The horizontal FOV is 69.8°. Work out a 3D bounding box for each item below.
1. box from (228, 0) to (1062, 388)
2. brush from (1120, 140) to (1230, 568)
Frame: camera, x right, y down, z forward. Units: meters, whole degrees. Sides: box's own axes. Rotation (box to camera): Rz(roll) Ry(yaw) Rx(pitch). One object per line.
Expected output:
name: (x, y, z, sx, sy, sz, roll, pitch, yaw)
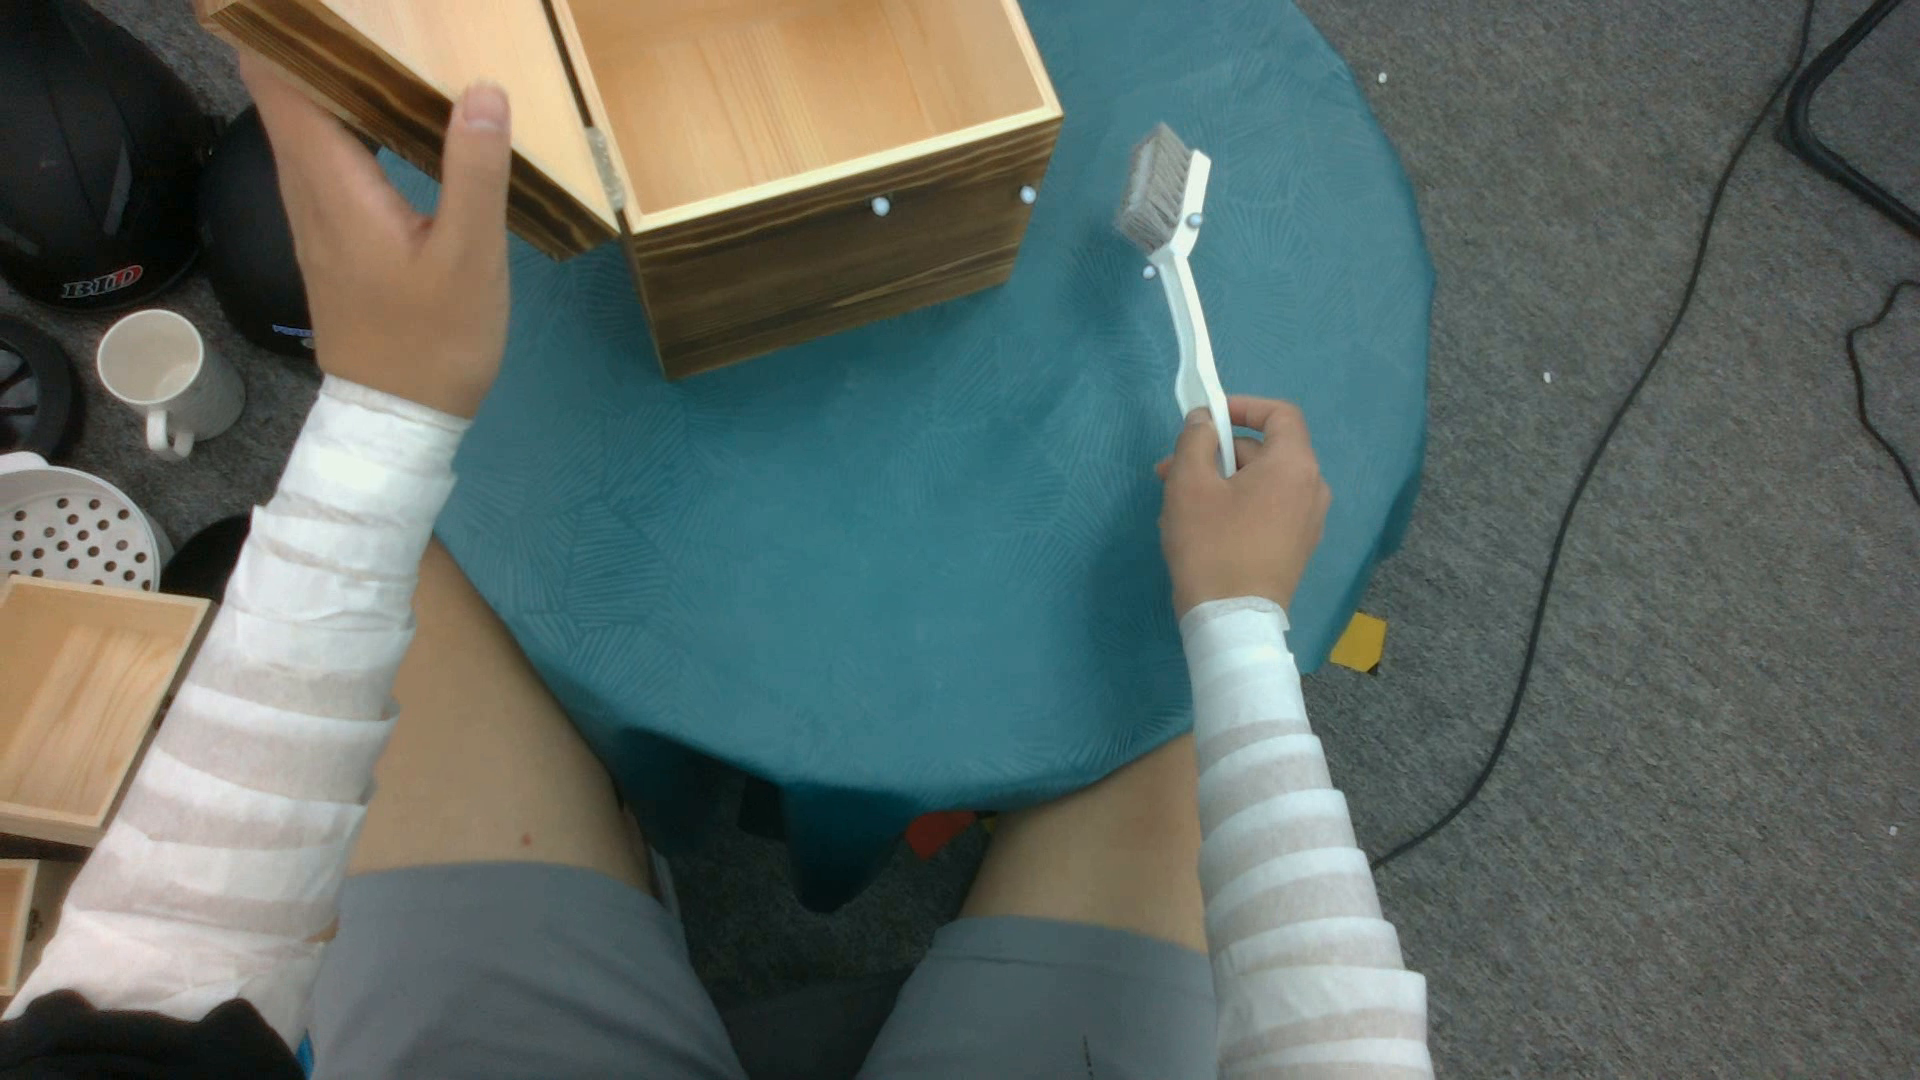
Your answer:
box: (-0.128, -0.230, 0.620, 0.322, 0.374, 0.209, -19, 79, -10)
brush: (0.114, -0.104, 0.734, 0.050, 0.034, 0.244, 13, 67, -31)
